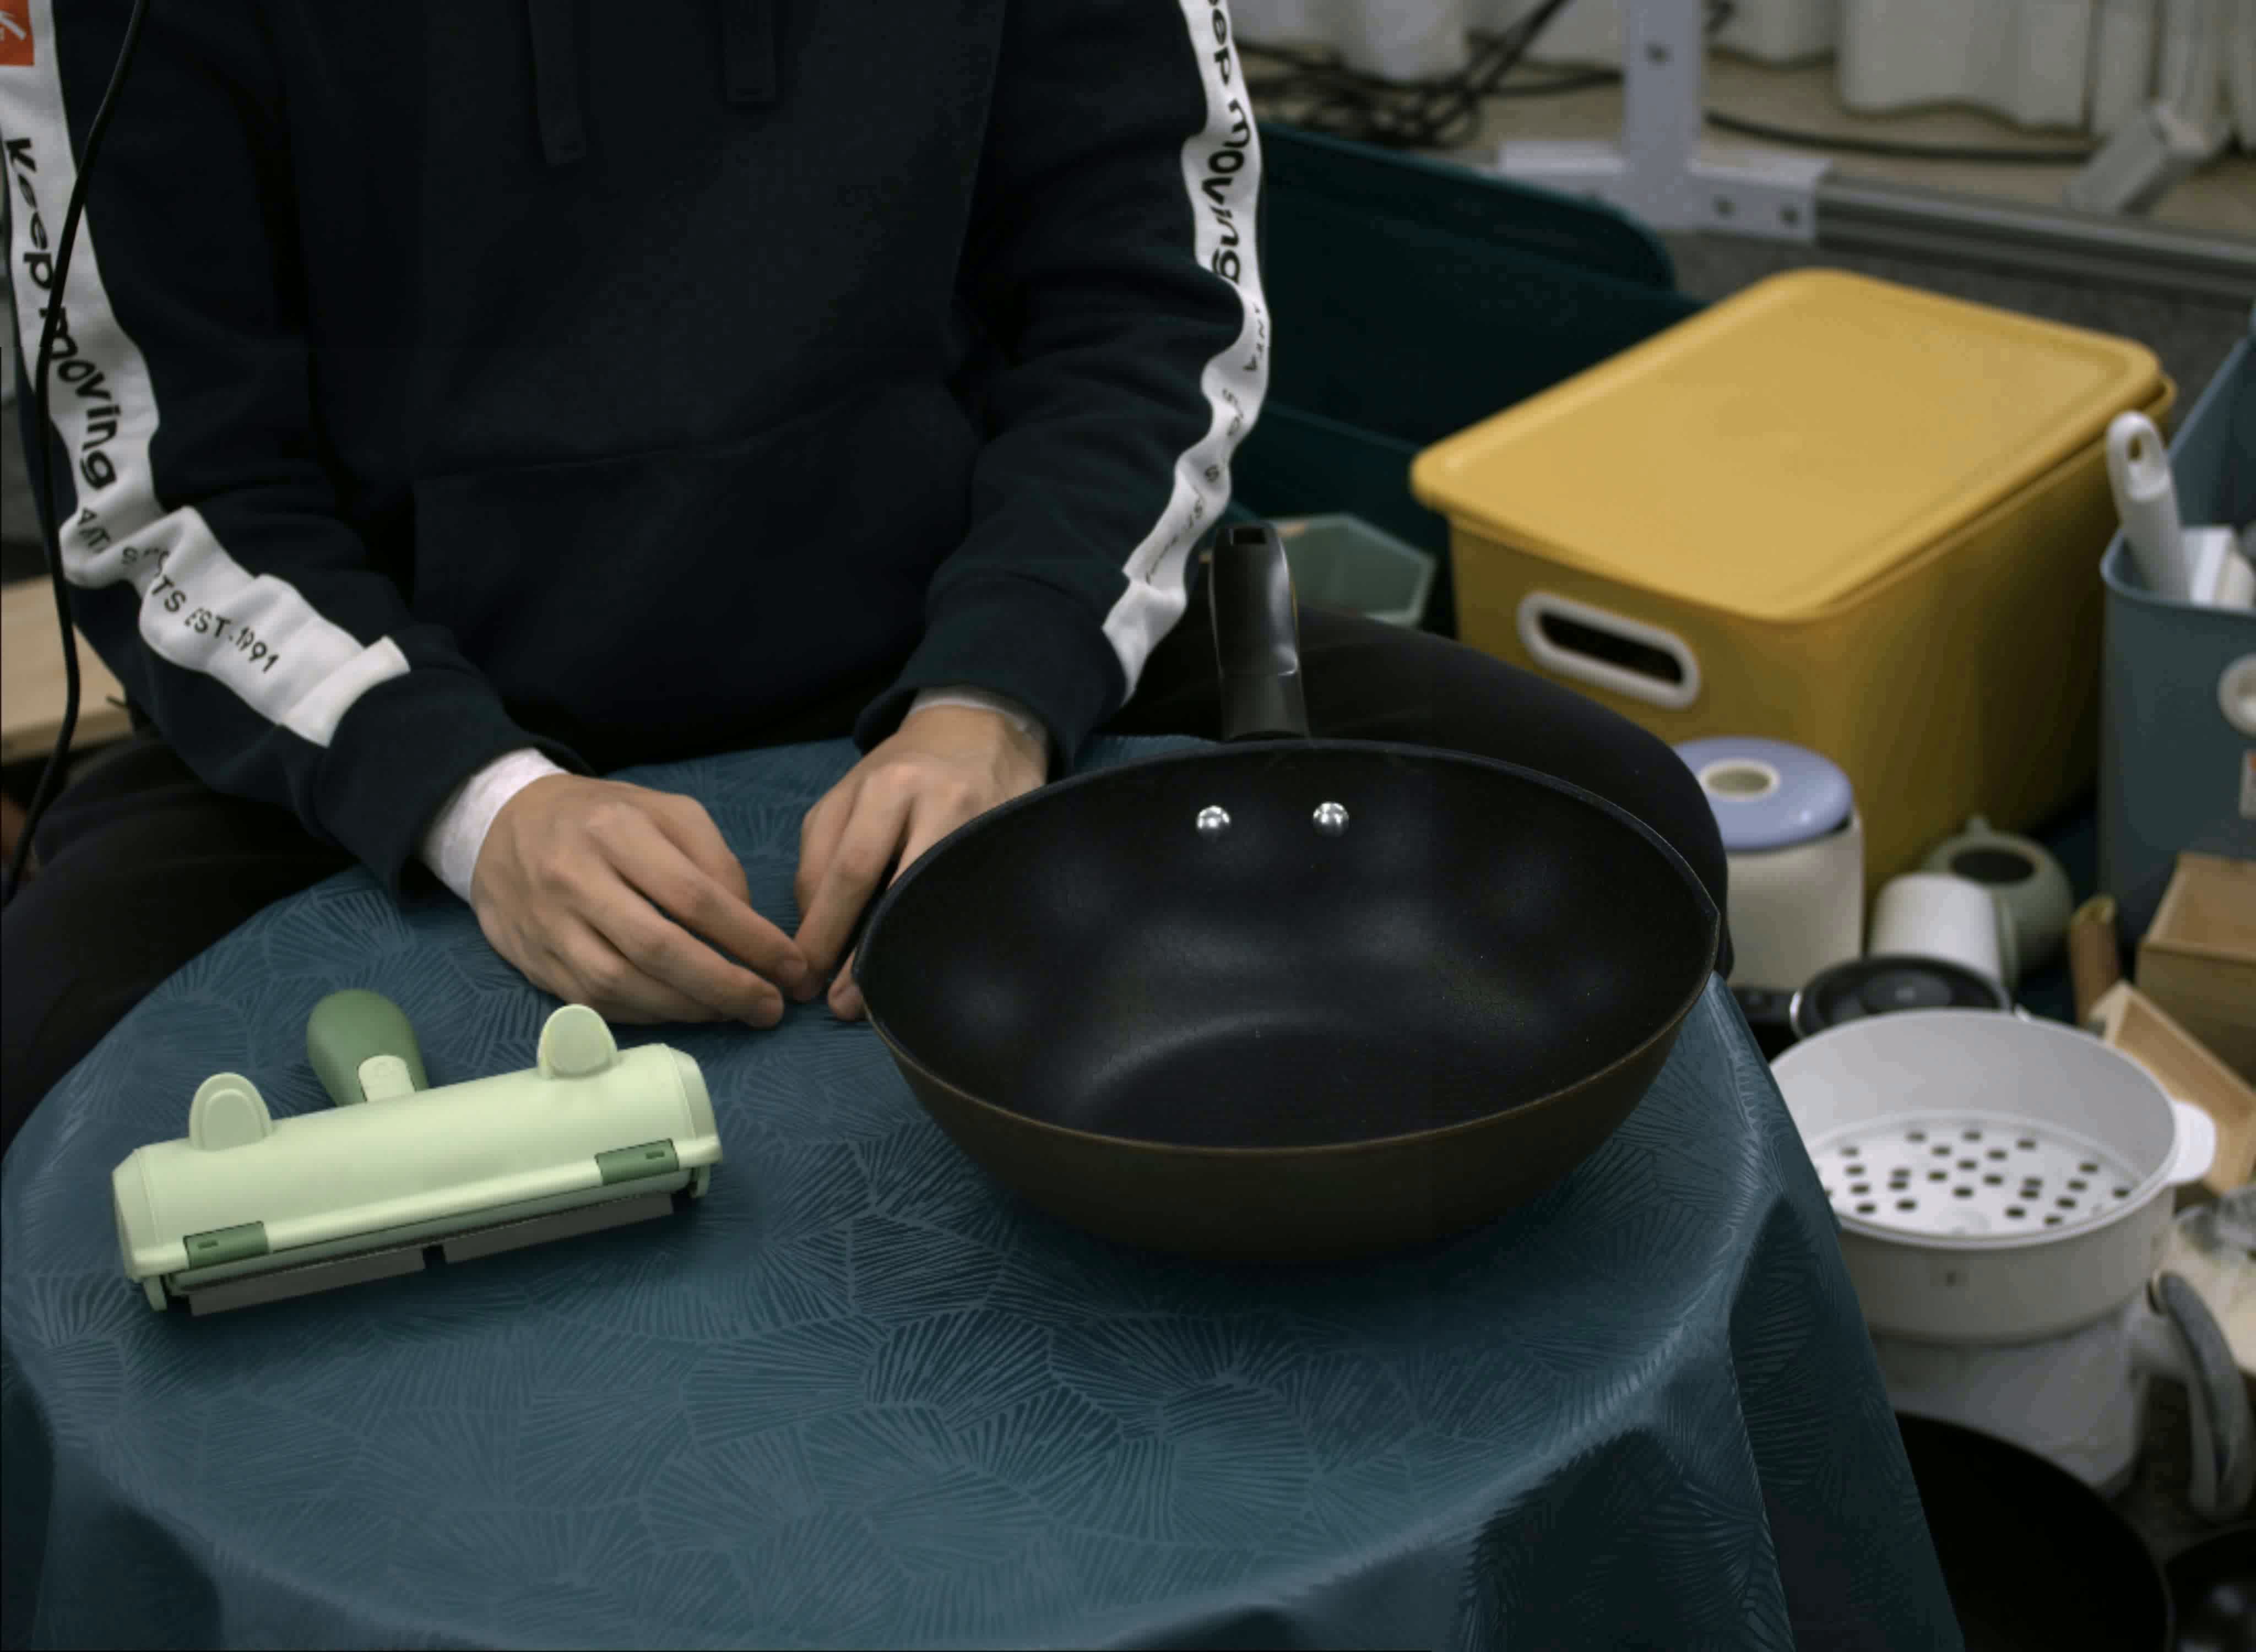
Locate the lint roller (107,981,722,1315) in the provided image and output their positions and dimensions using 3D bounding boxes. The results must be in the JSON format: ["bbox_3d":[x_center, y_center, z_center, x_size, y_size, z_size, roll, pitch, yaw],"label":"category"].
[{"bbox_3d":[-0.250,0.082,1.881,0.199,0.081,0.185,-11,33,-14],"label":"lint roller"}]

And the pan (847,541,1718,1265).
[{"bbox_3d":[0.049,0.028,1.946,0.287,0.086,0.470,-3,26,-1],"label":"pan"}]
